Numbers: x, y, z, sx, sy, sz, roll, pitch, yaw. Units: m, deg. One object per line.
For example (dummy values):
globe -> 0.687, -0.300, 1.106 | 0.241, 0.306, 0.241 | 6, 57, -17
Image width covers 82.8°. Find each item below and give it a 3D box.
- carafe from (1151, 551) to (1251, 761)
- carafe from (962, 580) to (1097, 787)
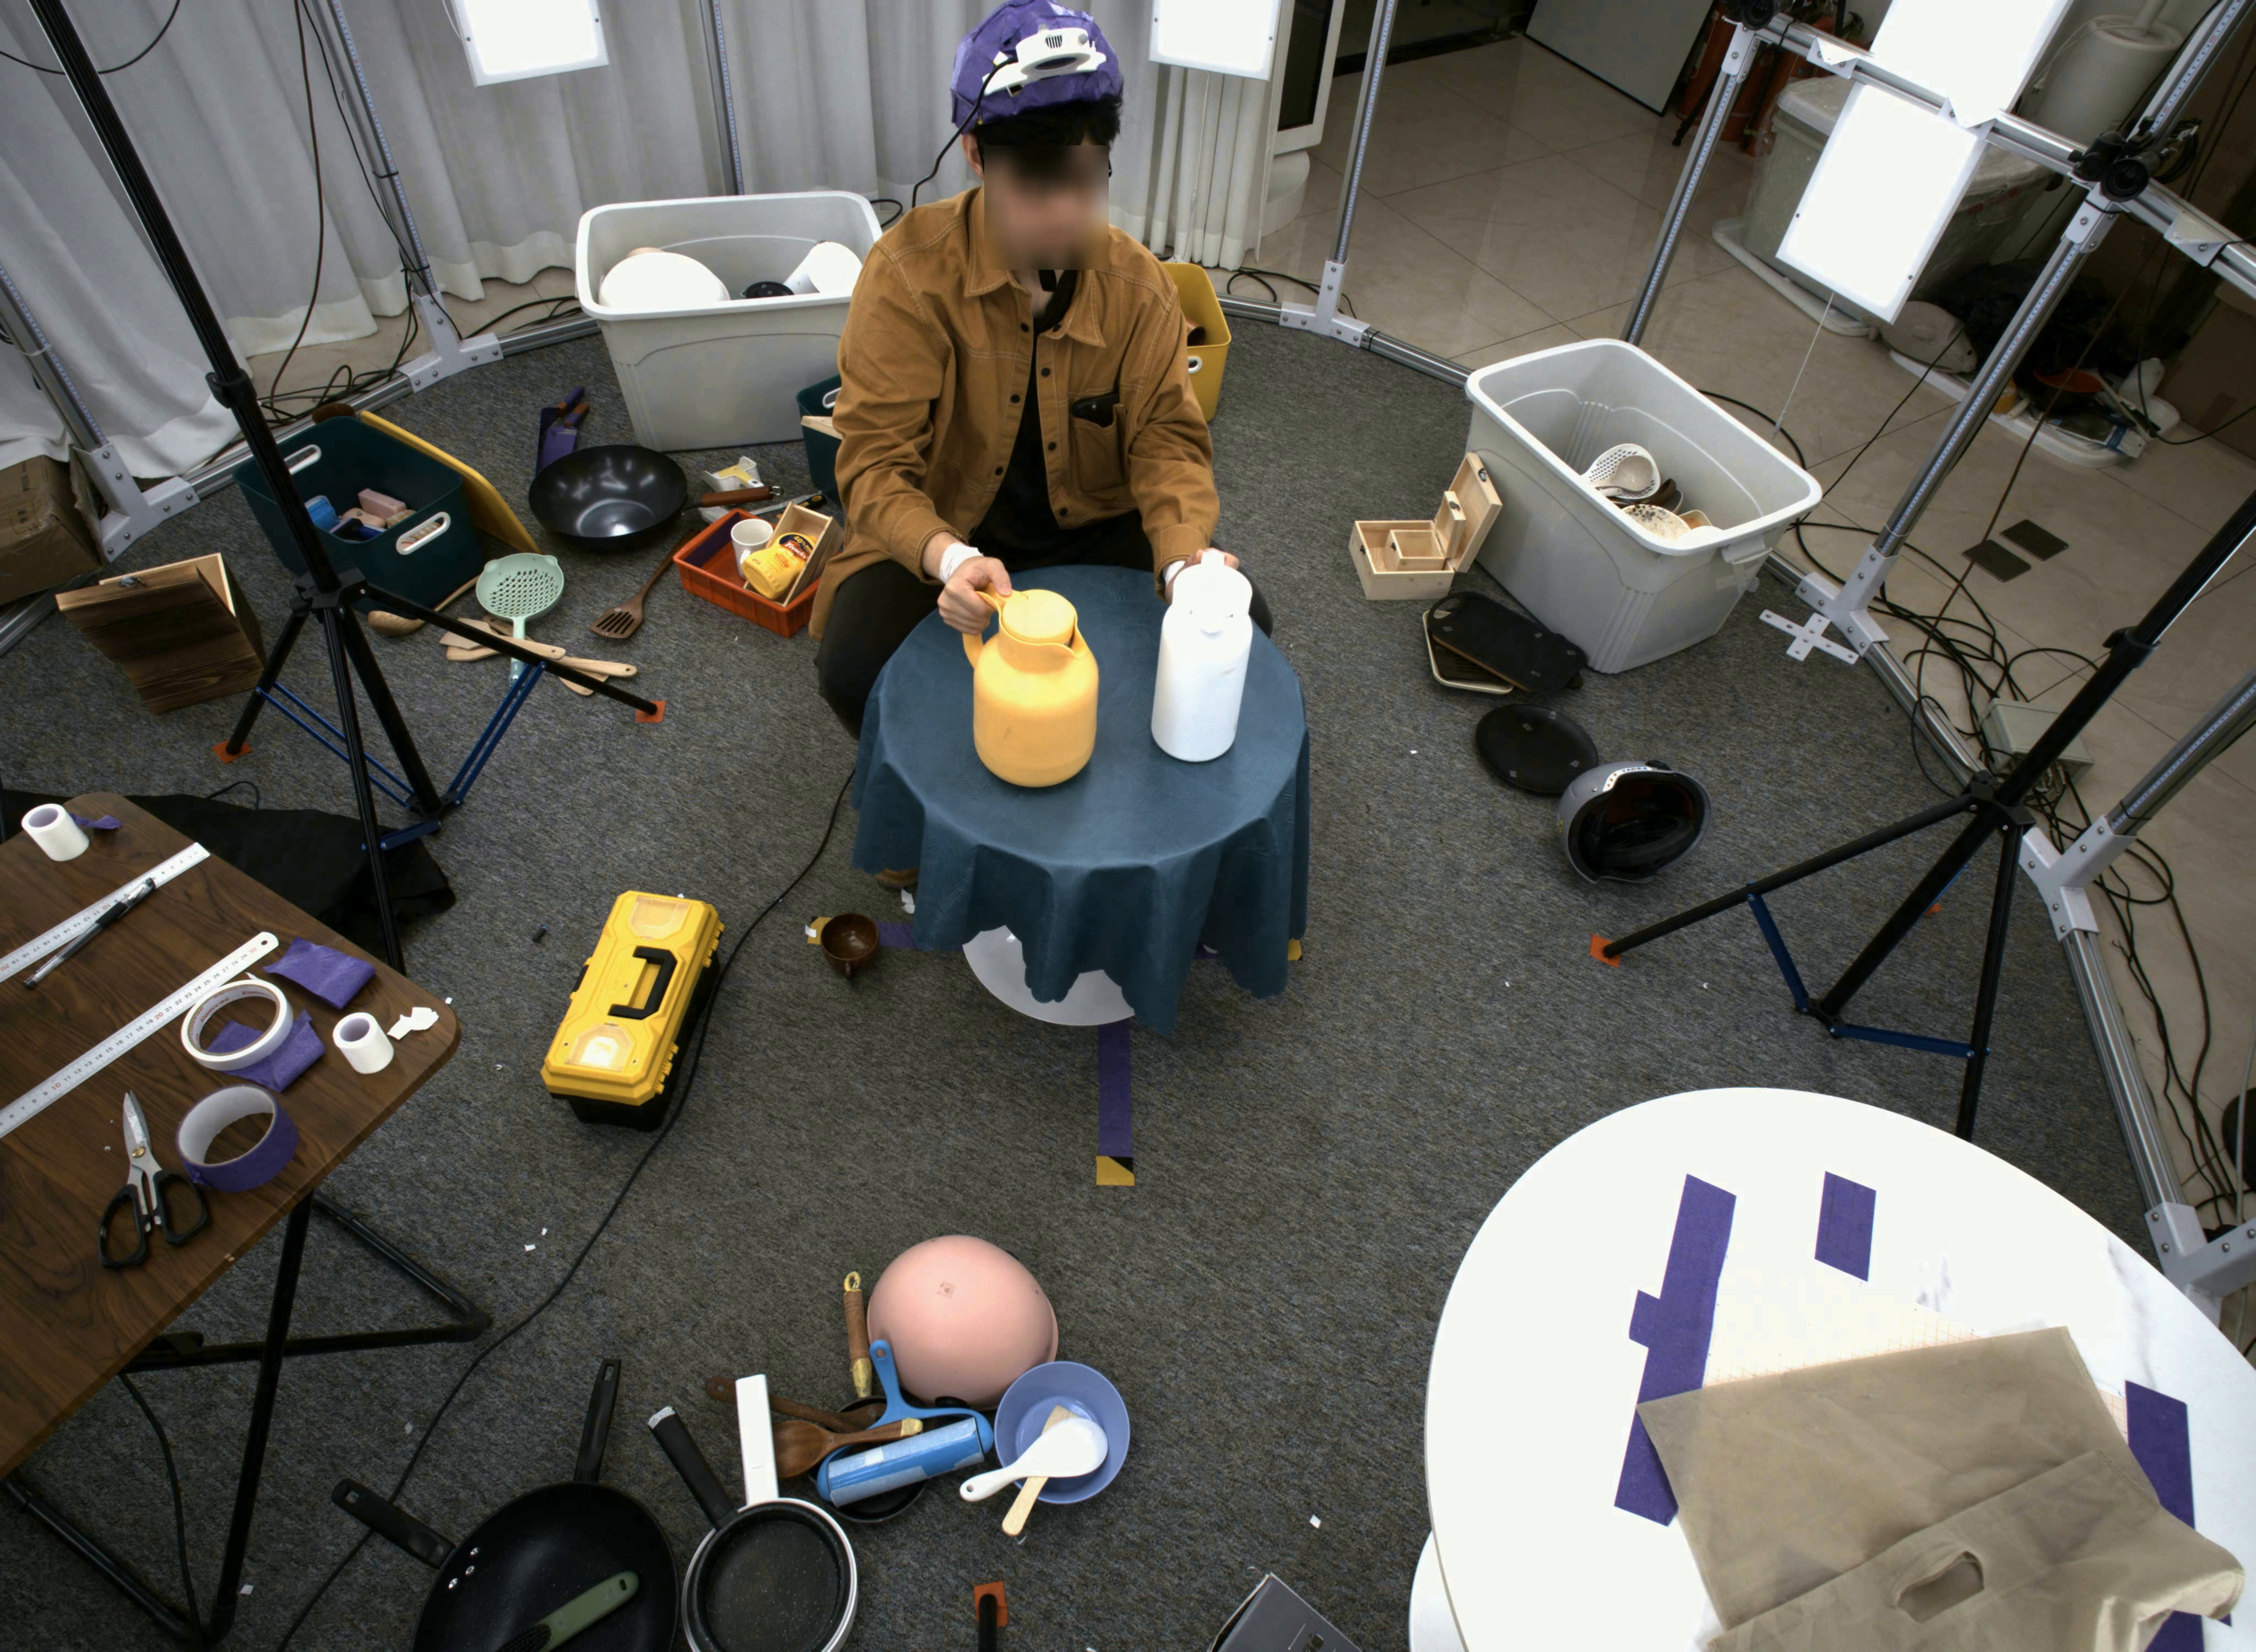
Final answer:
carafe -> 0.096, -0.226, 1.697 | 0.124, 0.262, 0.177 | 3, 50, 2
carafe -> -0.134, -0.193, 1.658 | 0.205, 0.254, 0.165 | 39, 54, 23
